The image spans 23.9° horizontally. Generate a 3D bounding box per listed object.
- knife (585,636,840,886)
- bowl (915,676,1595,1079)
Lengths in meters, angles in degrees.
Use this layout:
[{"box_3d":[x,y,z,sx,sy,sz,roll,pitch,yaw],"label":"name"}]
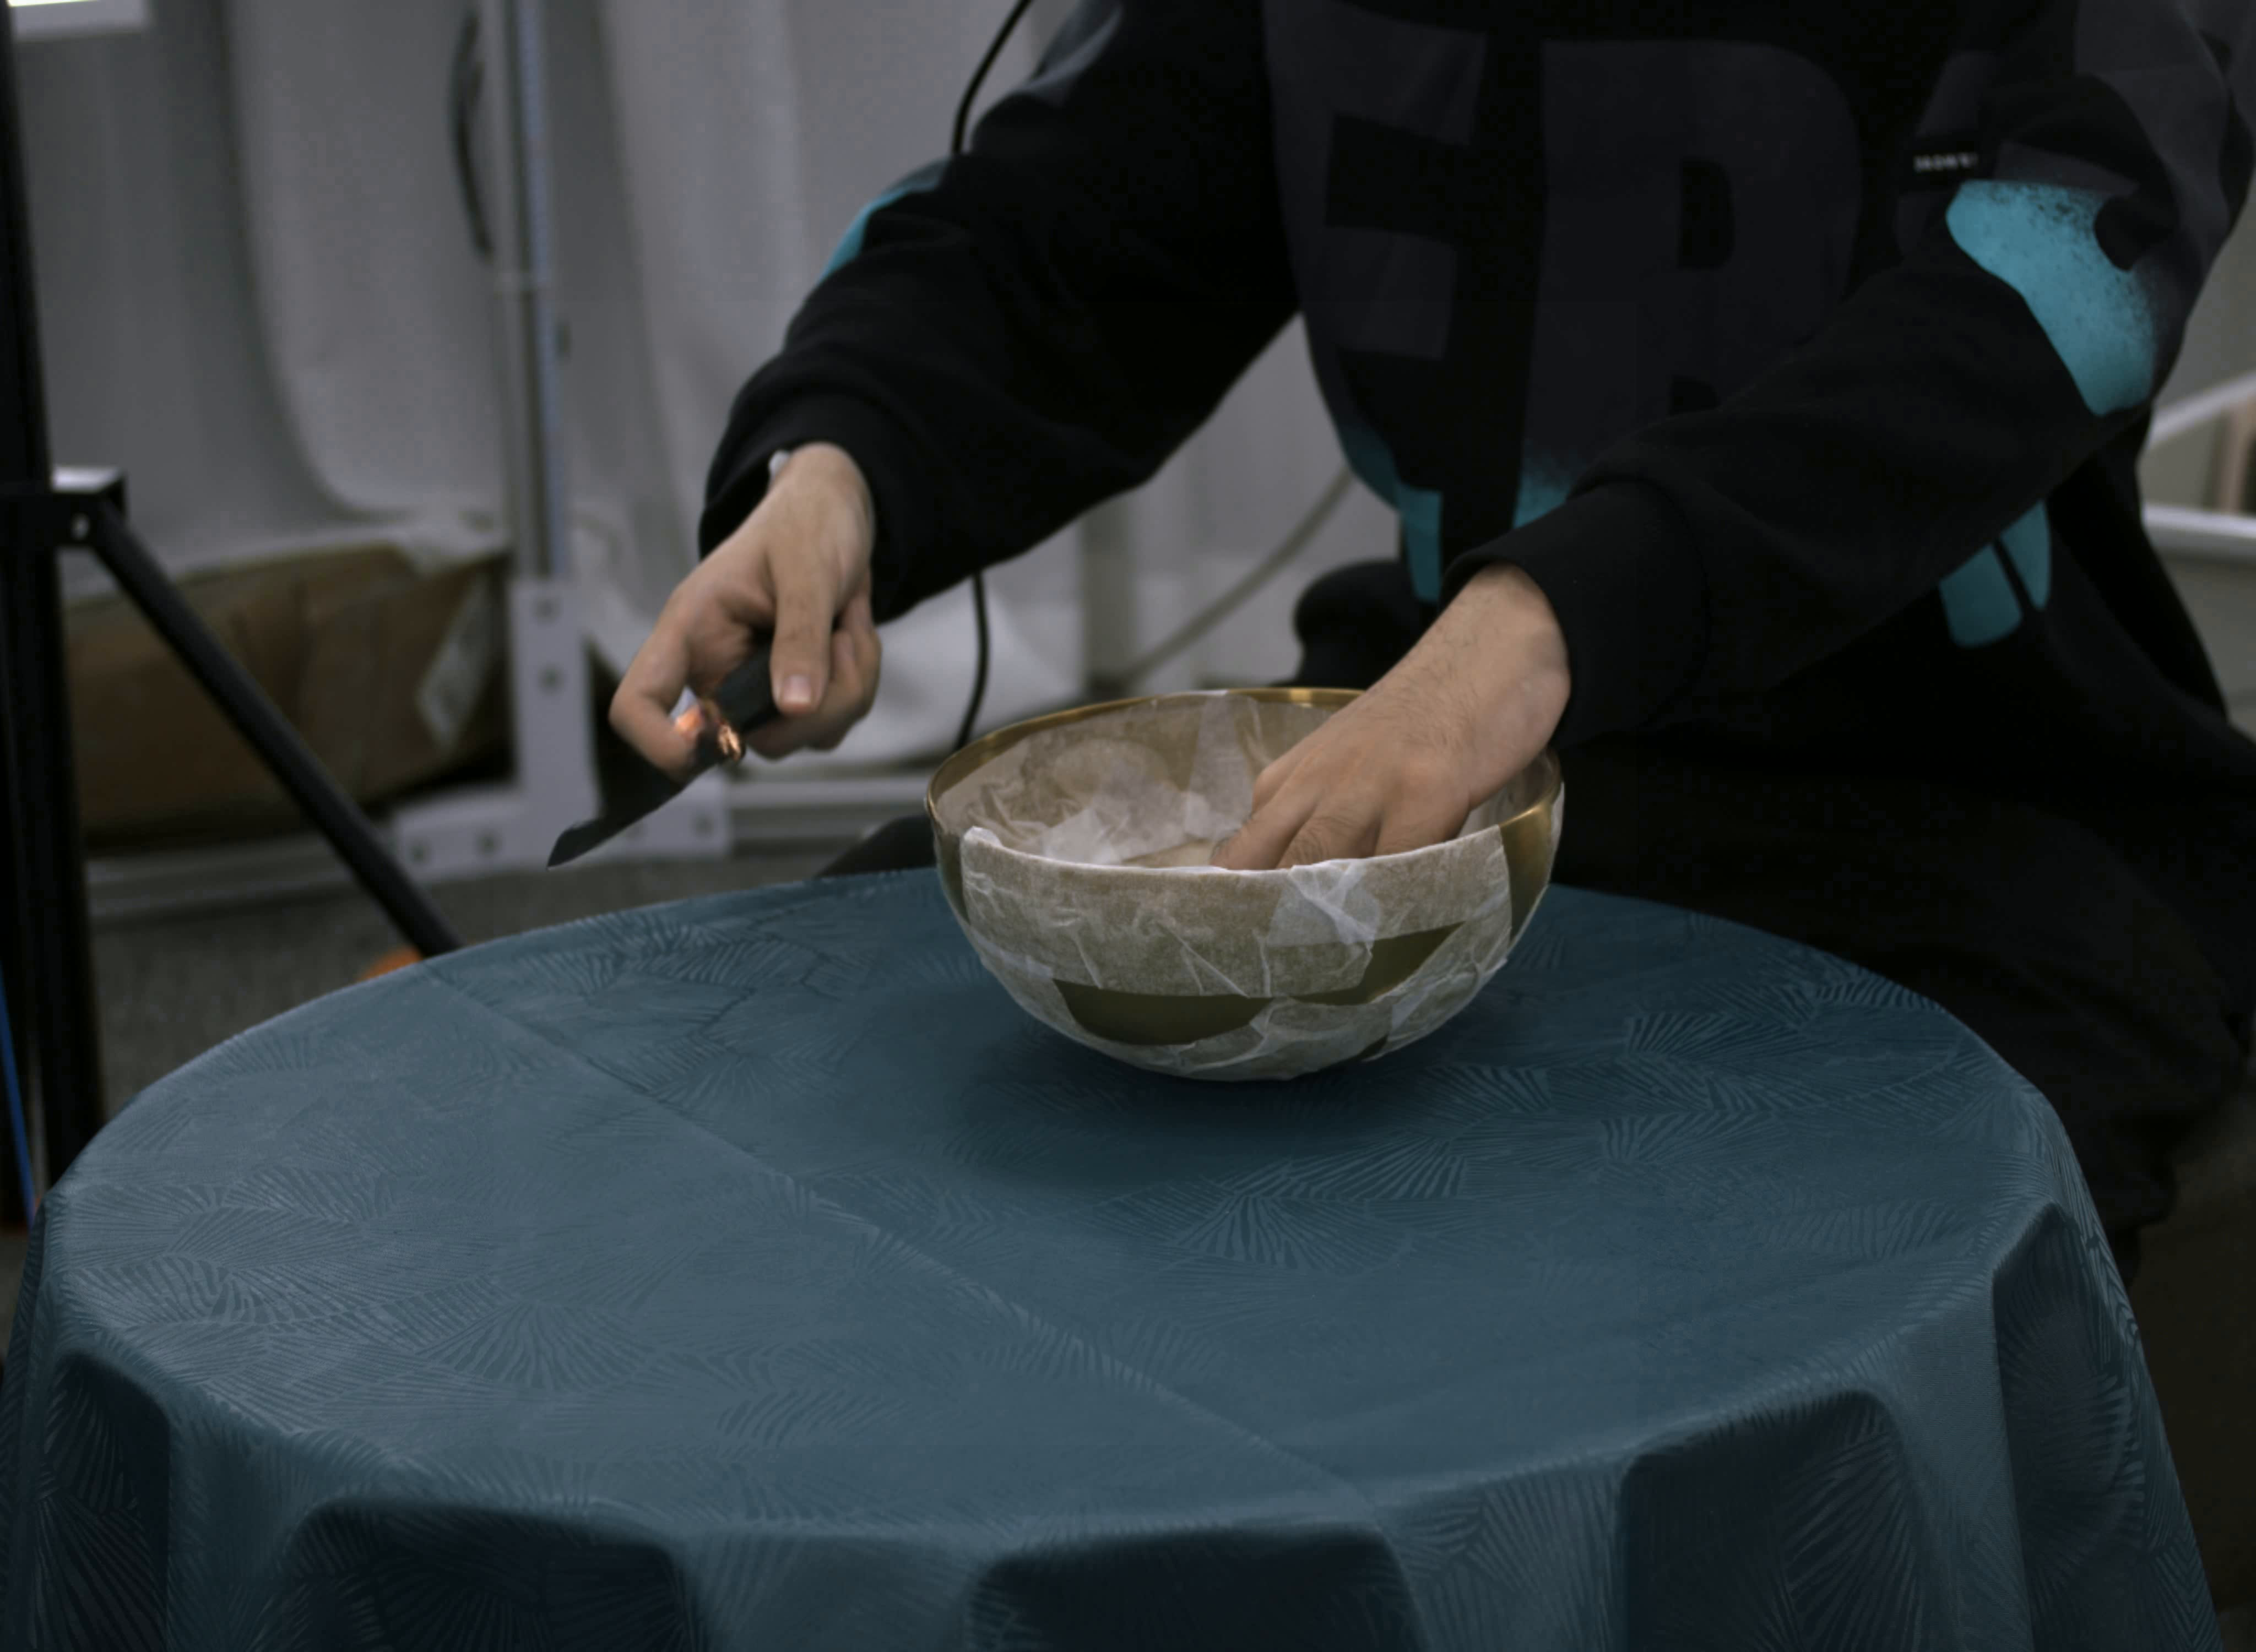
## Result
[{"box_3d":[-0.137,-0.022,1.726,0.026,0.017,0.223,21,25,10],"label":"knife"},{"box_3d":[0.040,0.025,1.669,0.213,0.094,0.216,-4,16,0],"label":"bowl"}]
